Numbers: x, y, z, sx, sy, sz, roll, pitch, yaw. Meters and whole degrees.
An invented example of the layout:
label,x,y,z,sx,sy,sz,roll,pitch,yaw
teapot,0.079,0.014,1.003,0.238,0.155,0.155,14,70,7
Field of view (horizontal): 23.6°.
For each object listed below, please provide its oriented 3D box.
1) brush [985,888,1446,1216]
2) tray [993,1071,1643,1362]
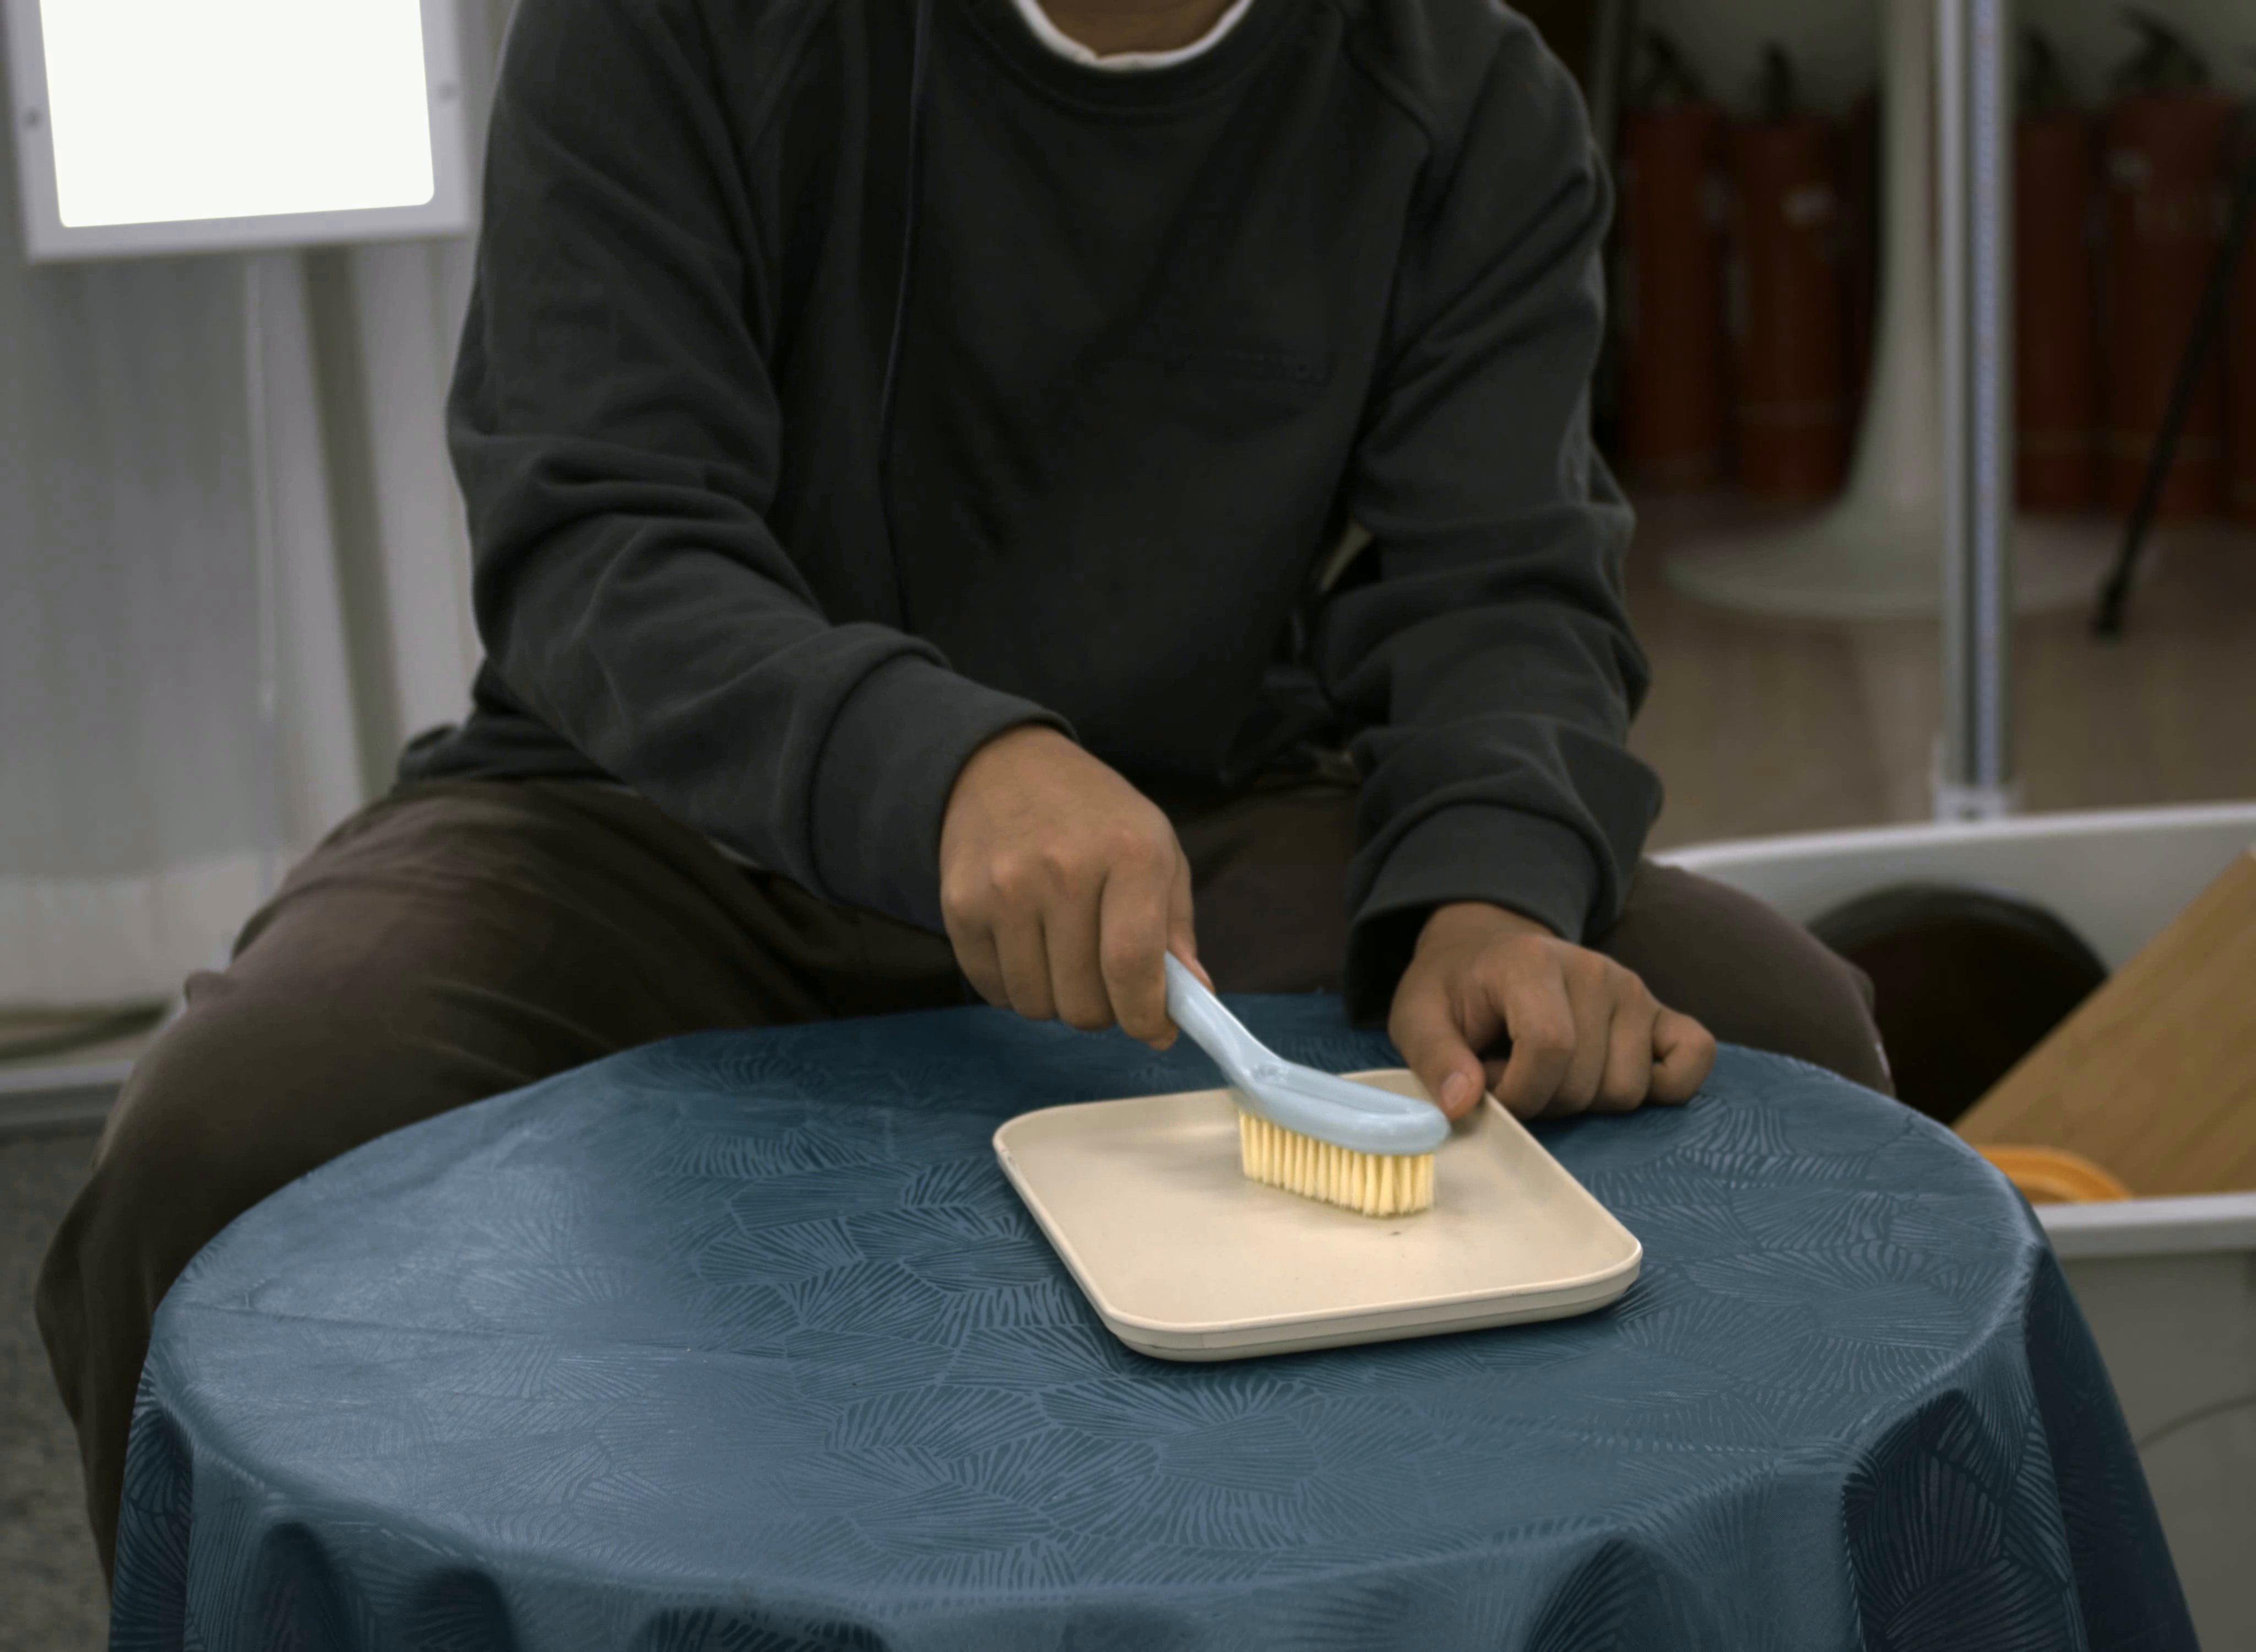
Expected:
label,x,y,z,sx,sy,sz,roll,pitch,yaw
brush,0.024,0.075,1.799,0.037,0.050,0.231,-8,26,-38
tray,0.056,0.123,1.713,0.168,0.017,0.241,-6,14,-10
